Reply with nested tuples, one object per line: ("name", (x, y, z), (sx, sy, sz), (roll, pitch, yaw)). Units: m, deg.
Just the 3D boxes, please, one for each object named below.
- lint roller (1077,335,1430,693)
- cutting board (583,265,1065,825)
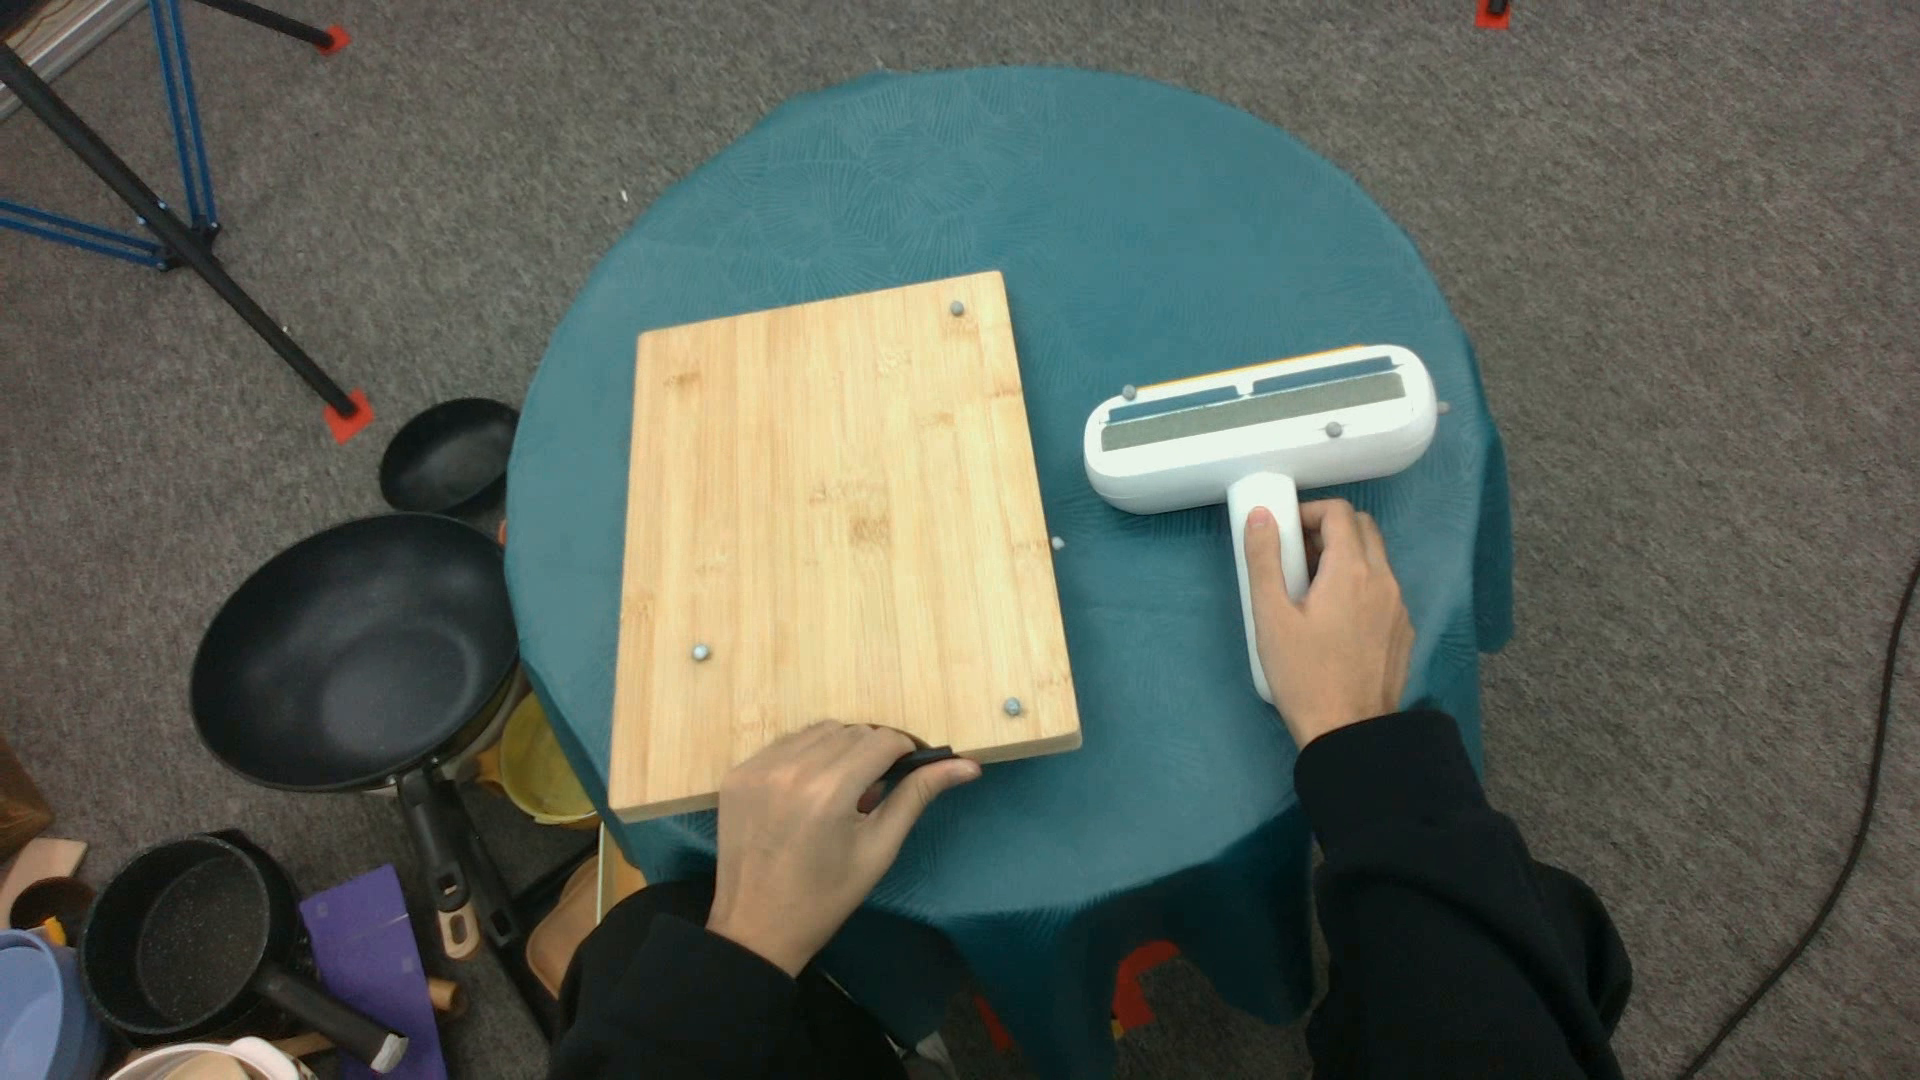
("lint roller", (0.161, -0.015, 0.754), (0.192, 0.074, 0.193), (-4, 64, 14))
("cutting board", (-0.084, -0.017, 0.785), (0.250, 0.023, 0.350), (-10, 53, 2))
